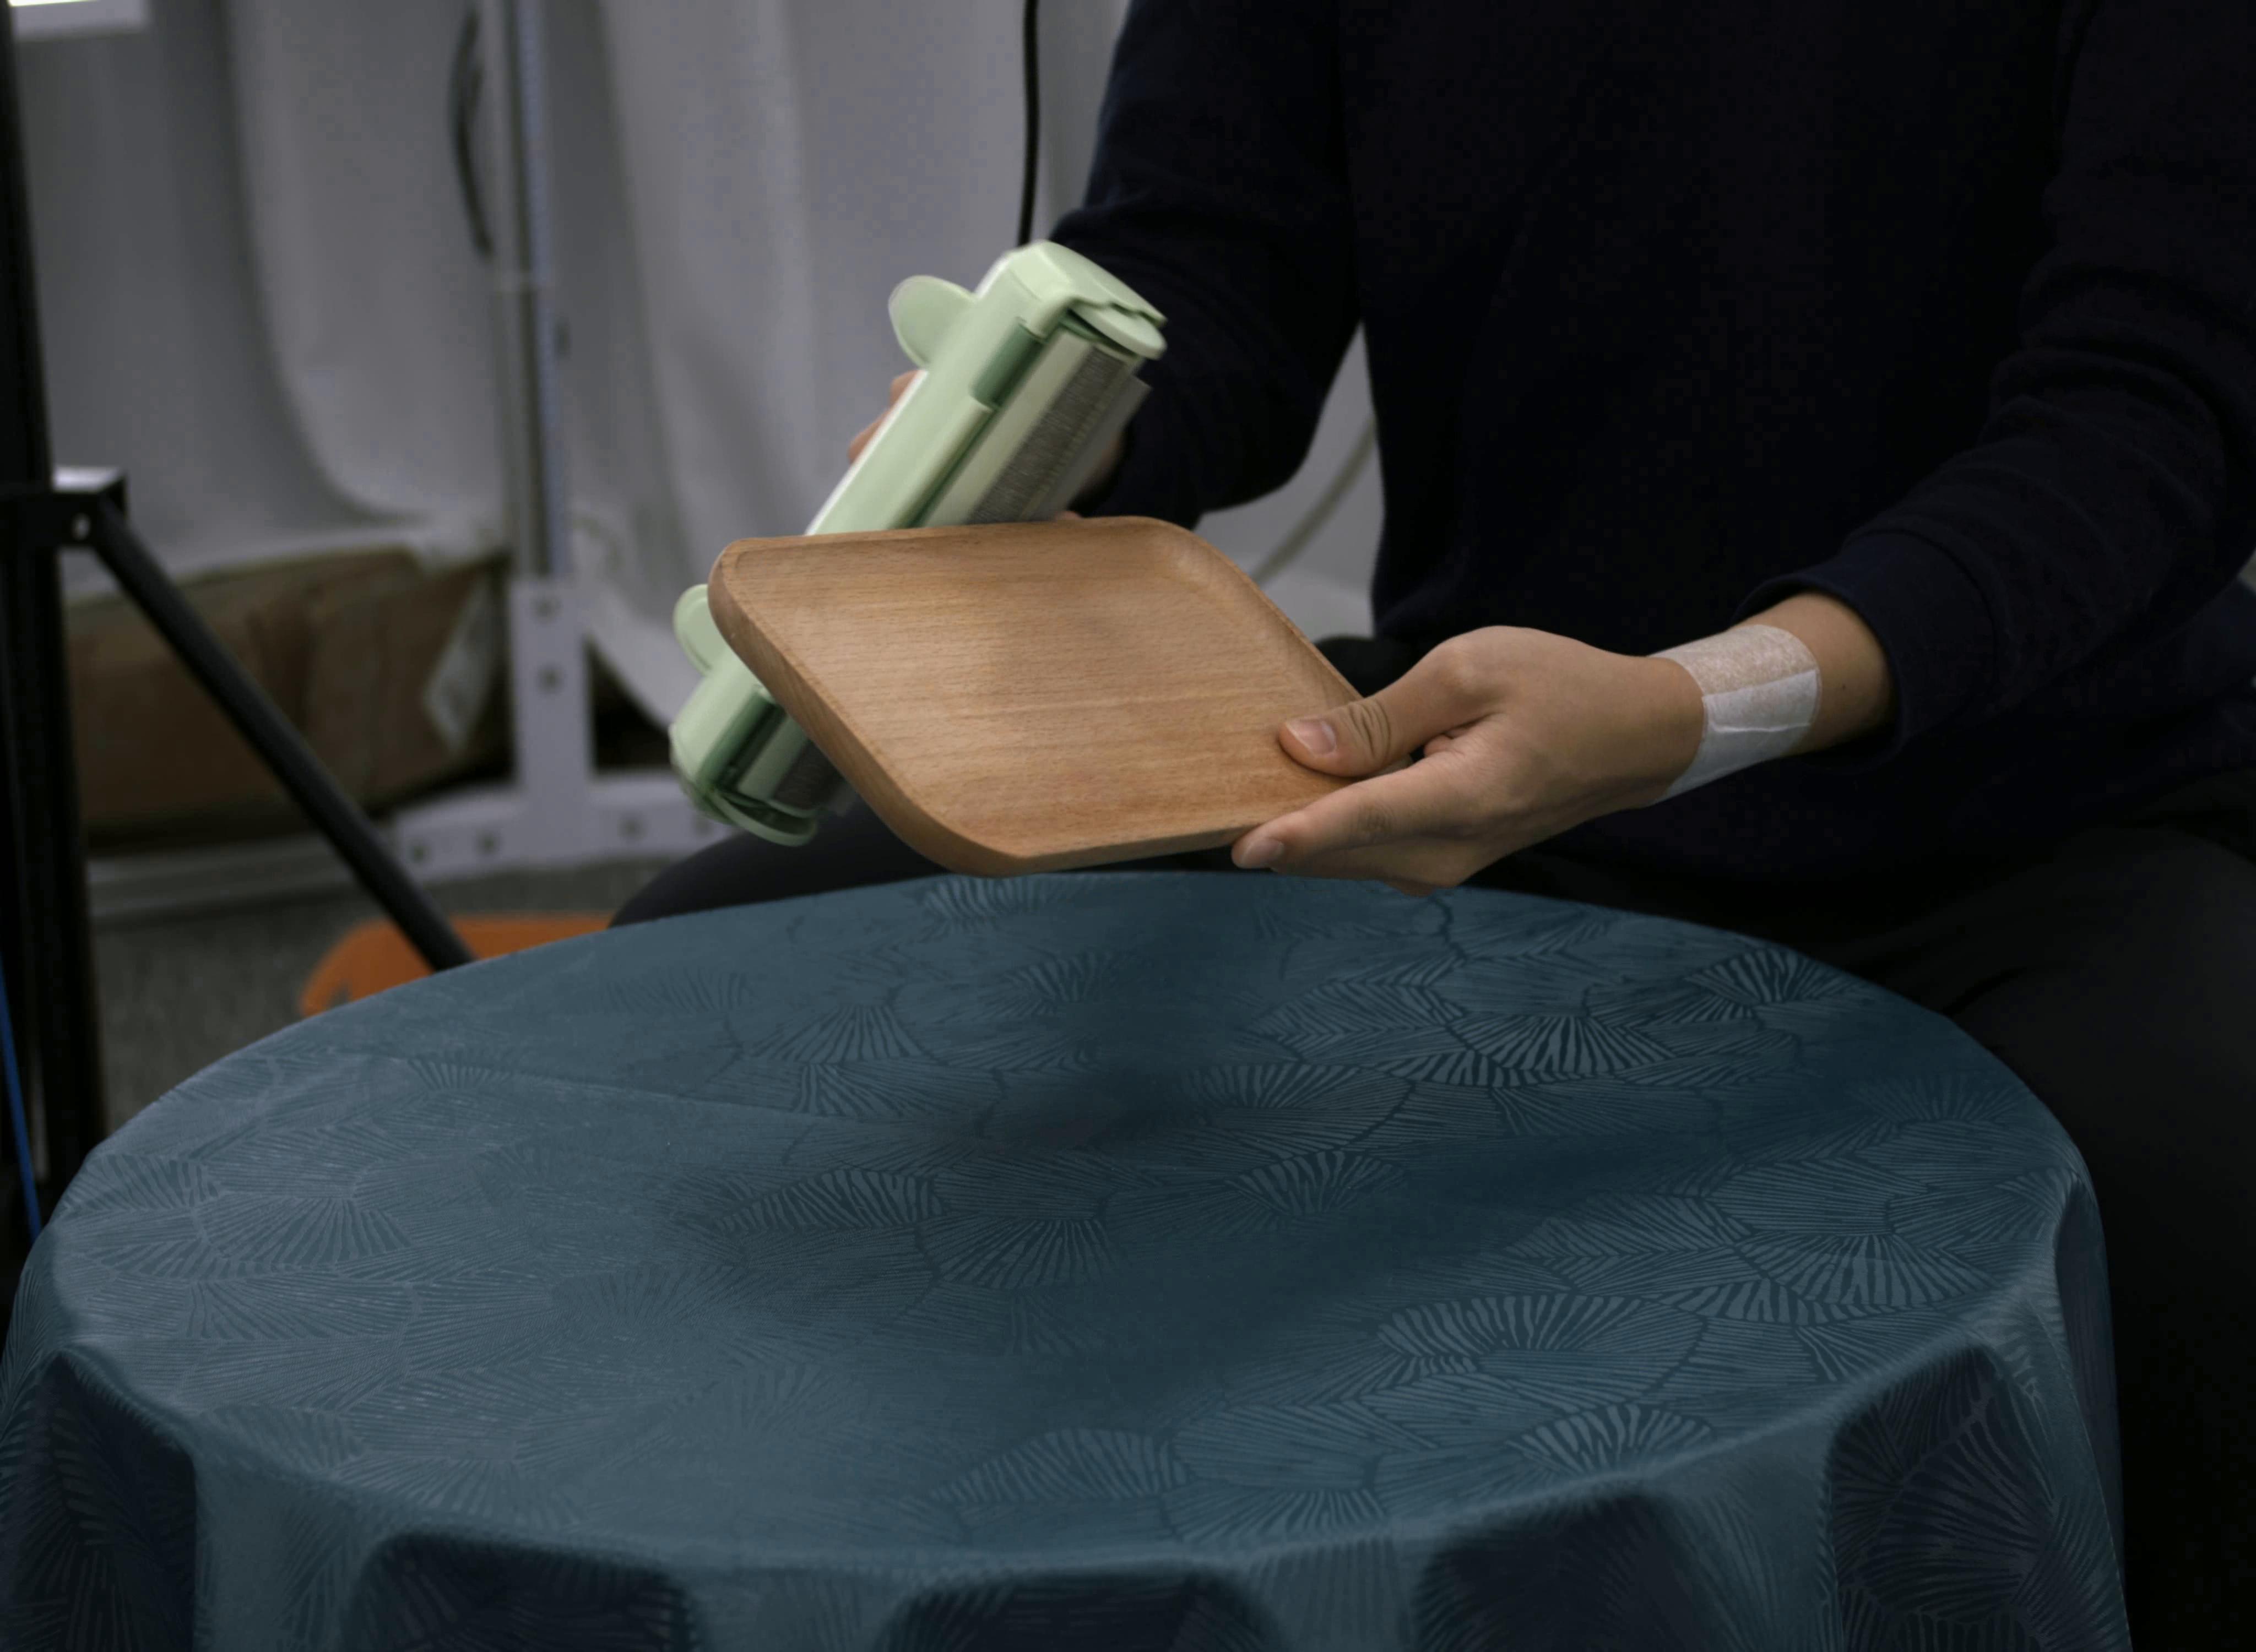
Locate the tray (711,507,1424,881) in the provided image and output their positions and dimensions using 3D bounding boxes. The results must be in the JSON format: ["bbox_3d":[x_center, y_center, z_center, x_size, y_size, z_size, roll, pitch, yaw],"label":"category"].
[{"bbox_3d":[-0.014,-0.039,1.515,0.132,0.023,0.245,50,29,21],"label":"tray"}]

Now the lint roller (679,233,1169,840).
[{"bbox_3d":[-0.065,-0.104,1.639,0.081,0.199,0.183,35,15,-7],"label":"lint roller"}]
